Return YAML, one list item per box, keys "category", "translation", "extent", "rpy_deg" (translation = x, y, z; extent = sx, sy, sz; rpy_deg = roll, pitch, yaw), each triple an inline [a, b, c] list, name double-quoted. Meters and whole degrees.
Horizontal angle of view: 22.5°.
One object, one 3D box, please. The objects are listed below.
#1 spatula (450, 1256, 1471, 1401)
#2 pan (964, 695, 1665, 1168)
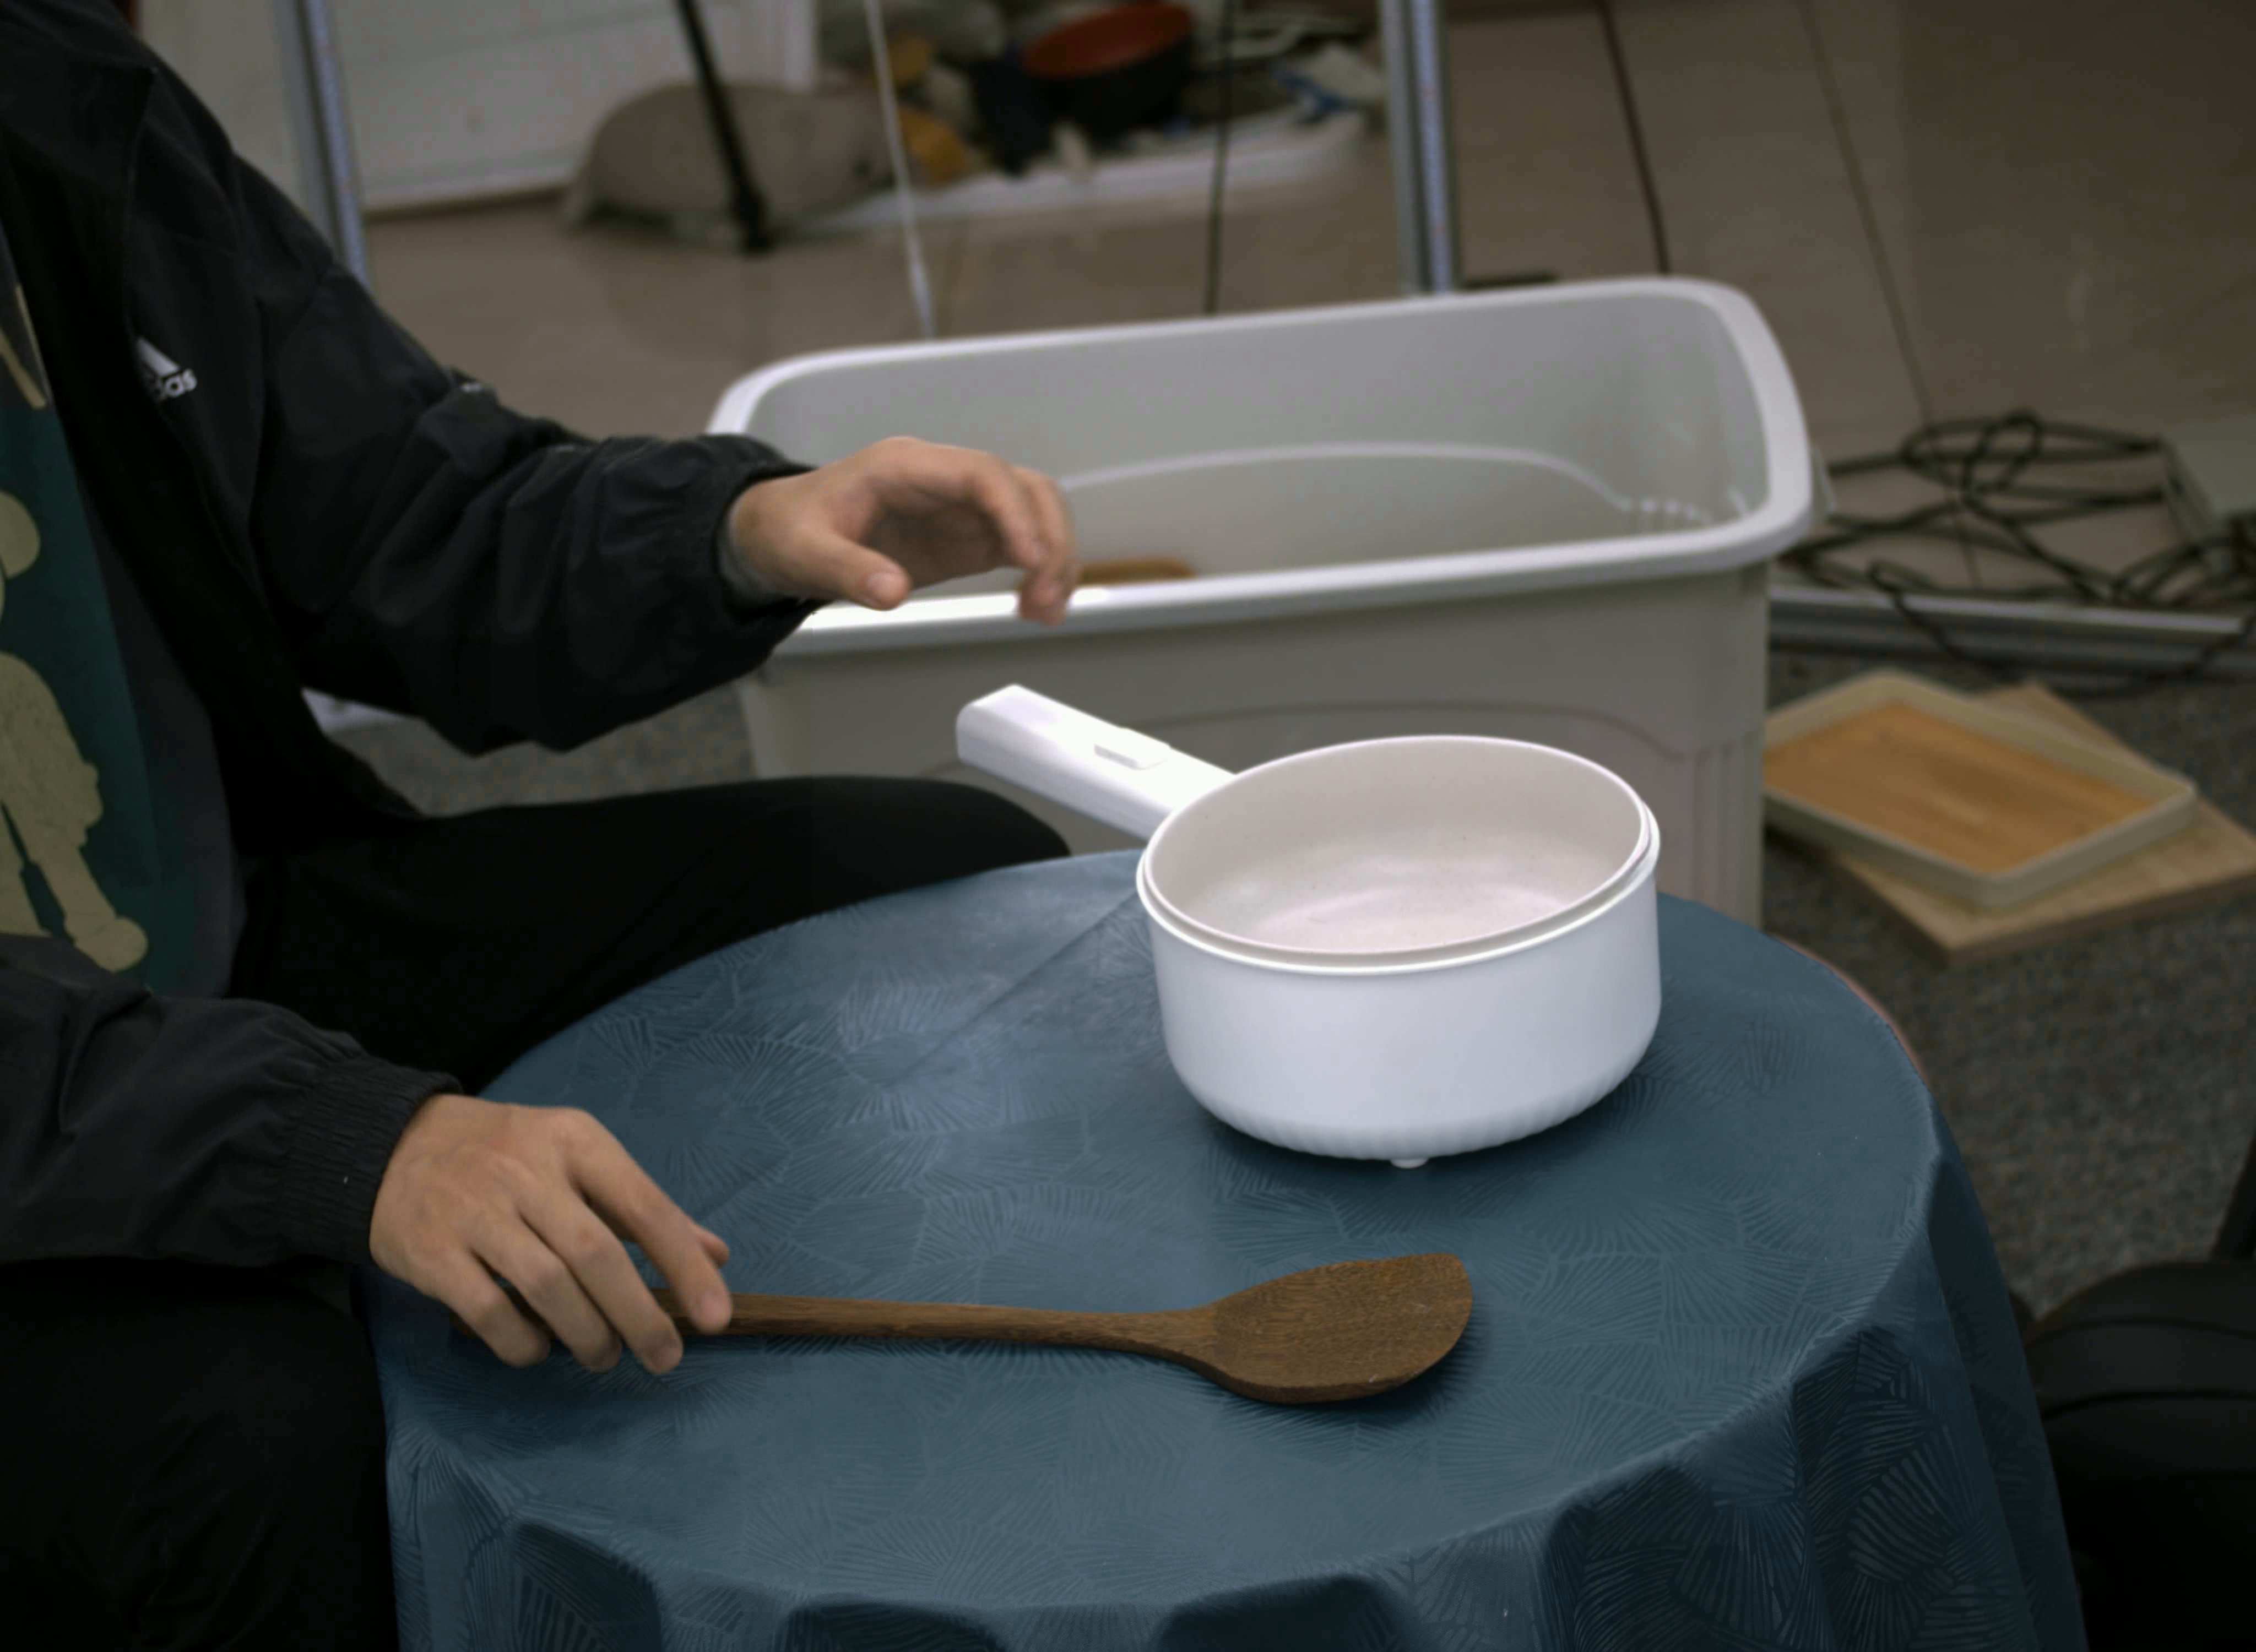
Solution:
- category: "spatula"
  translation: [-0.066, 0.180, 2.058]
  extent: [0.385, 0.016, 0.095]
  rpy_deg: [0, 25, 15]
- category: "pan"
  translation: [0.060, 0.033, 2.245]
  extent: [0.199, 0.103, 0.352]
  rpy_deg: [-25, 29, -33]
